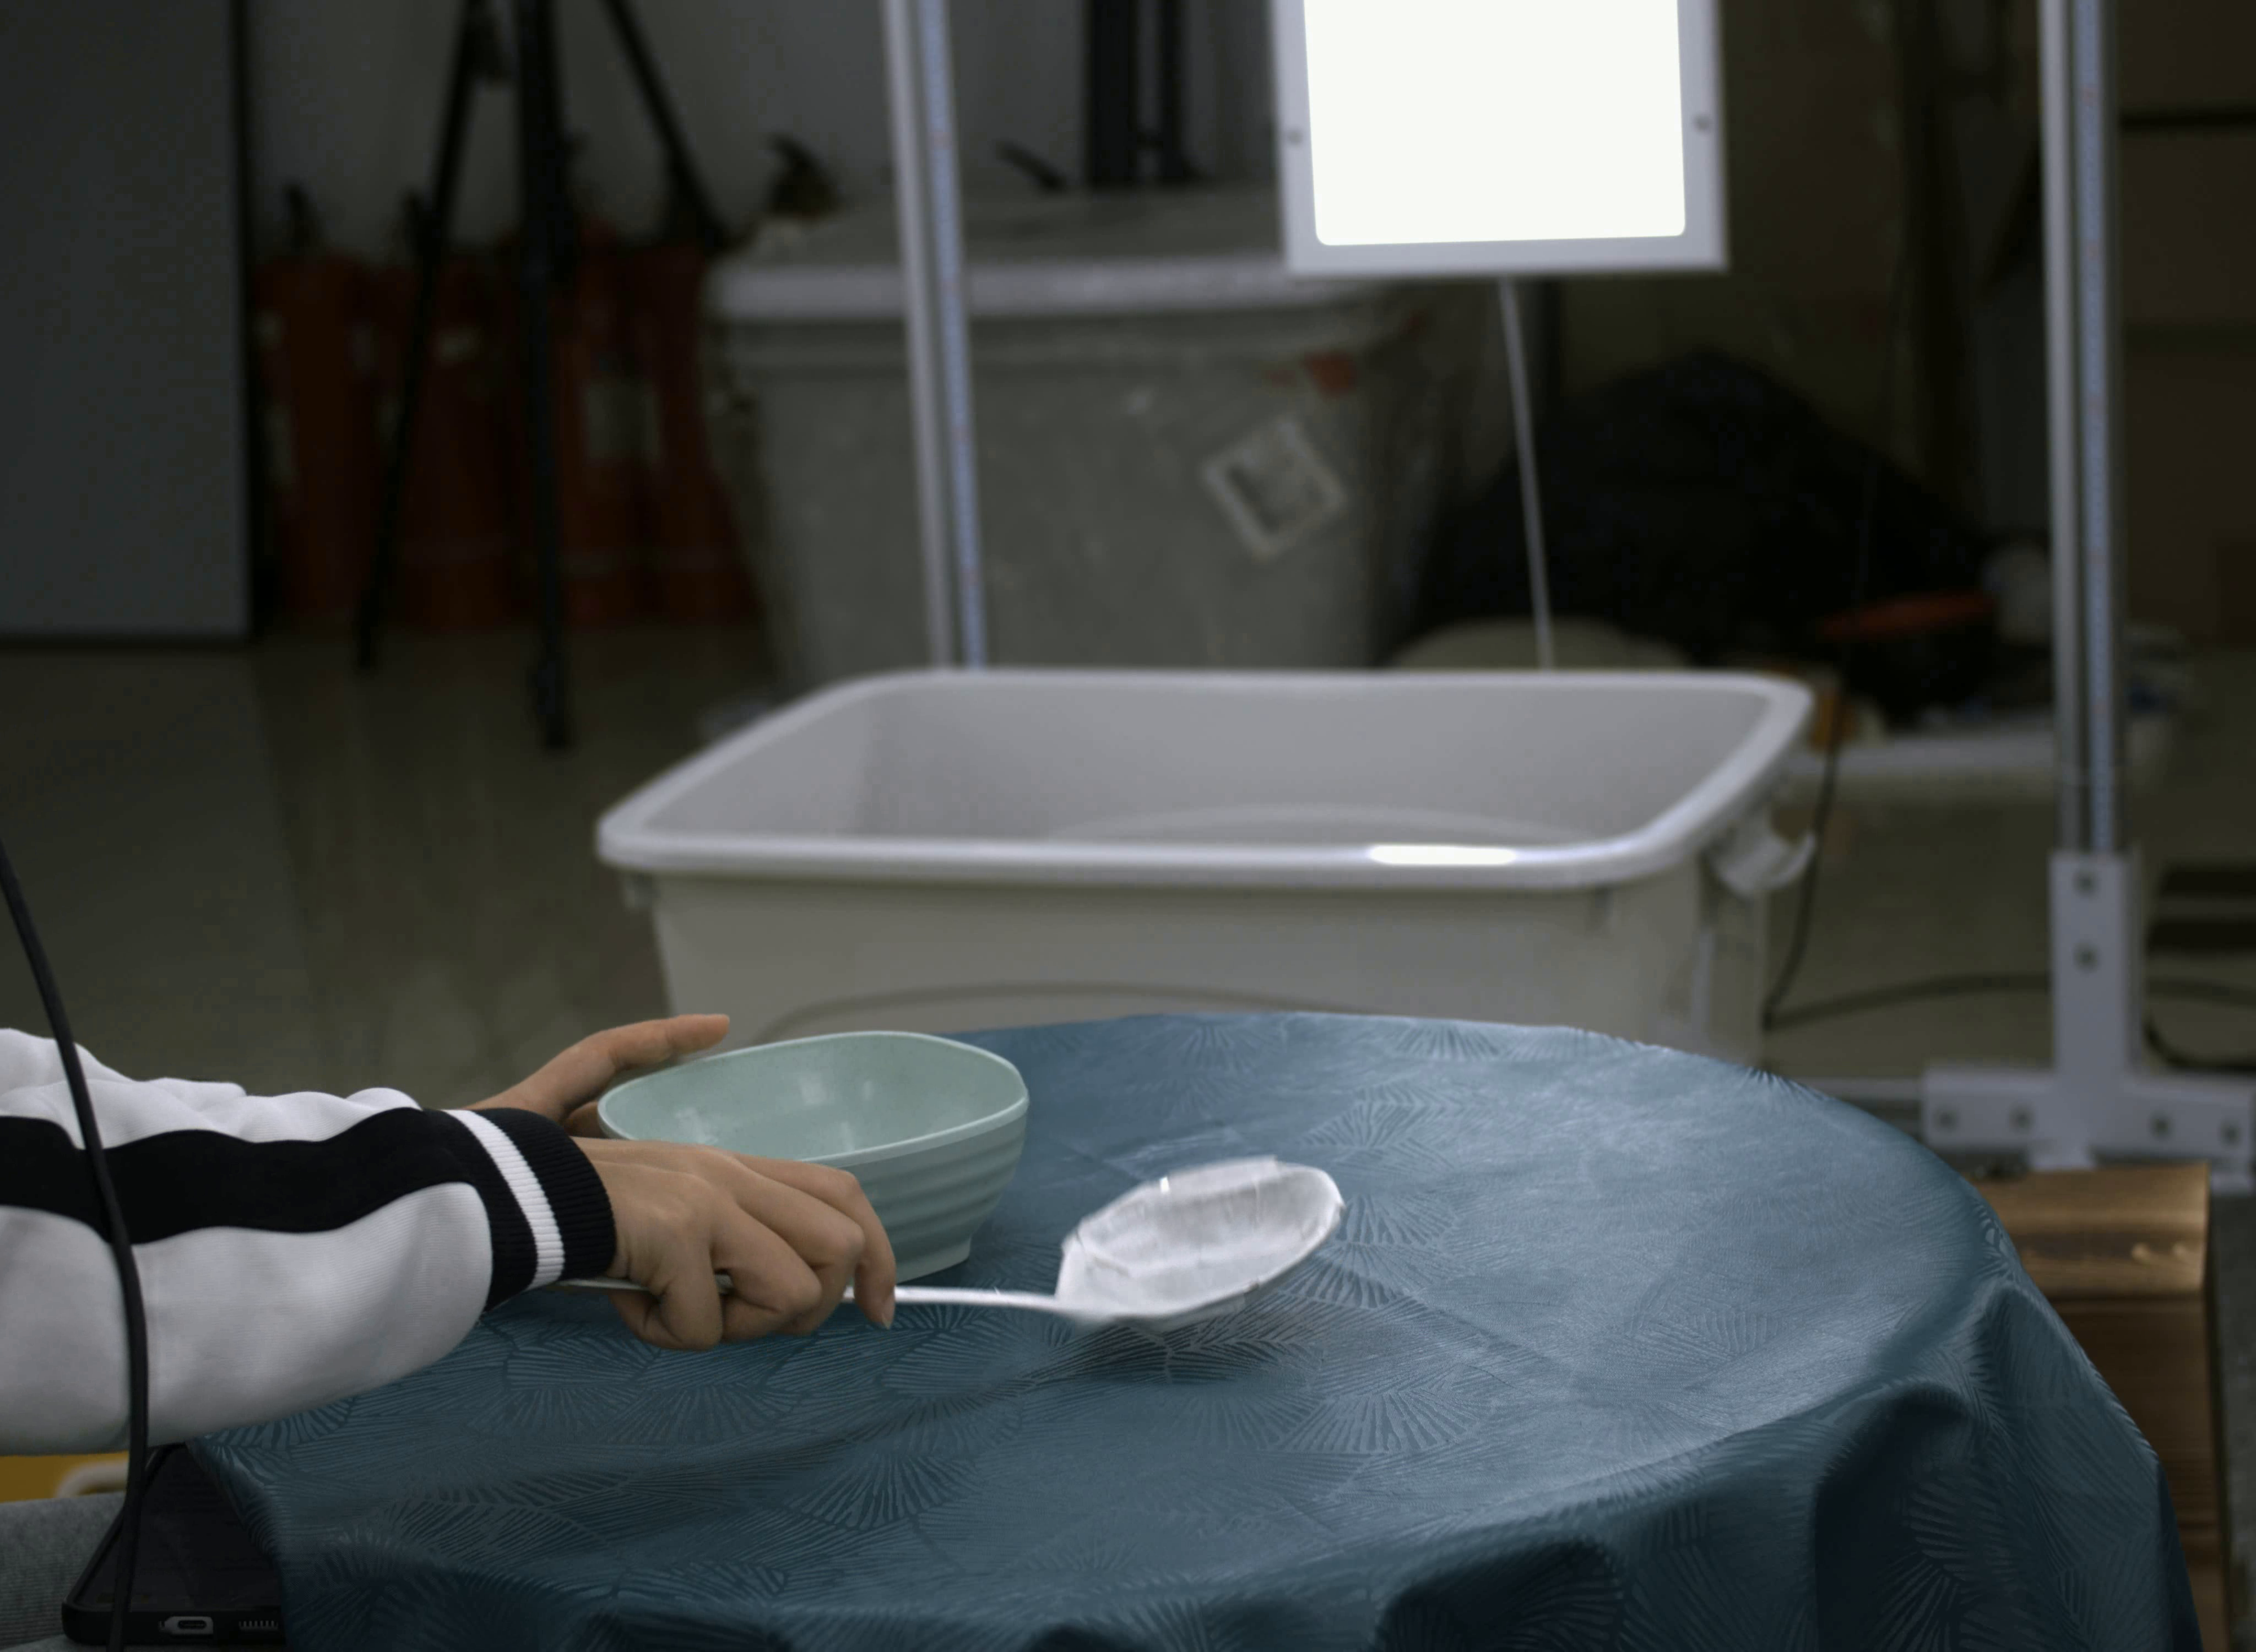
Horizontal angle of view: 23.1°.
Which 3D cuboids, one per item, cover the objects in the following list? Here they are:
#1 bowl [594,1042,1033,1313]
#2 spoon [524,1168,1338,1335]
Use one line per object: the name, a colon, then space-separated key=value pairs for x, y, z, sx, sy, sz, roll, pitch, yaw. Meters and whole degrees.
bowl: x=-0.104 y=0.121 z=1.851 sx=0.151 sy=0.059 sz=0.151 roll=-5 pitch=13 yaw=0
spoon: x=-0.061 y=0.120 z=1.698 sx=0.271 sy=0.059 sz=0.102 roll=10 pitch=-2 yaw=-31
